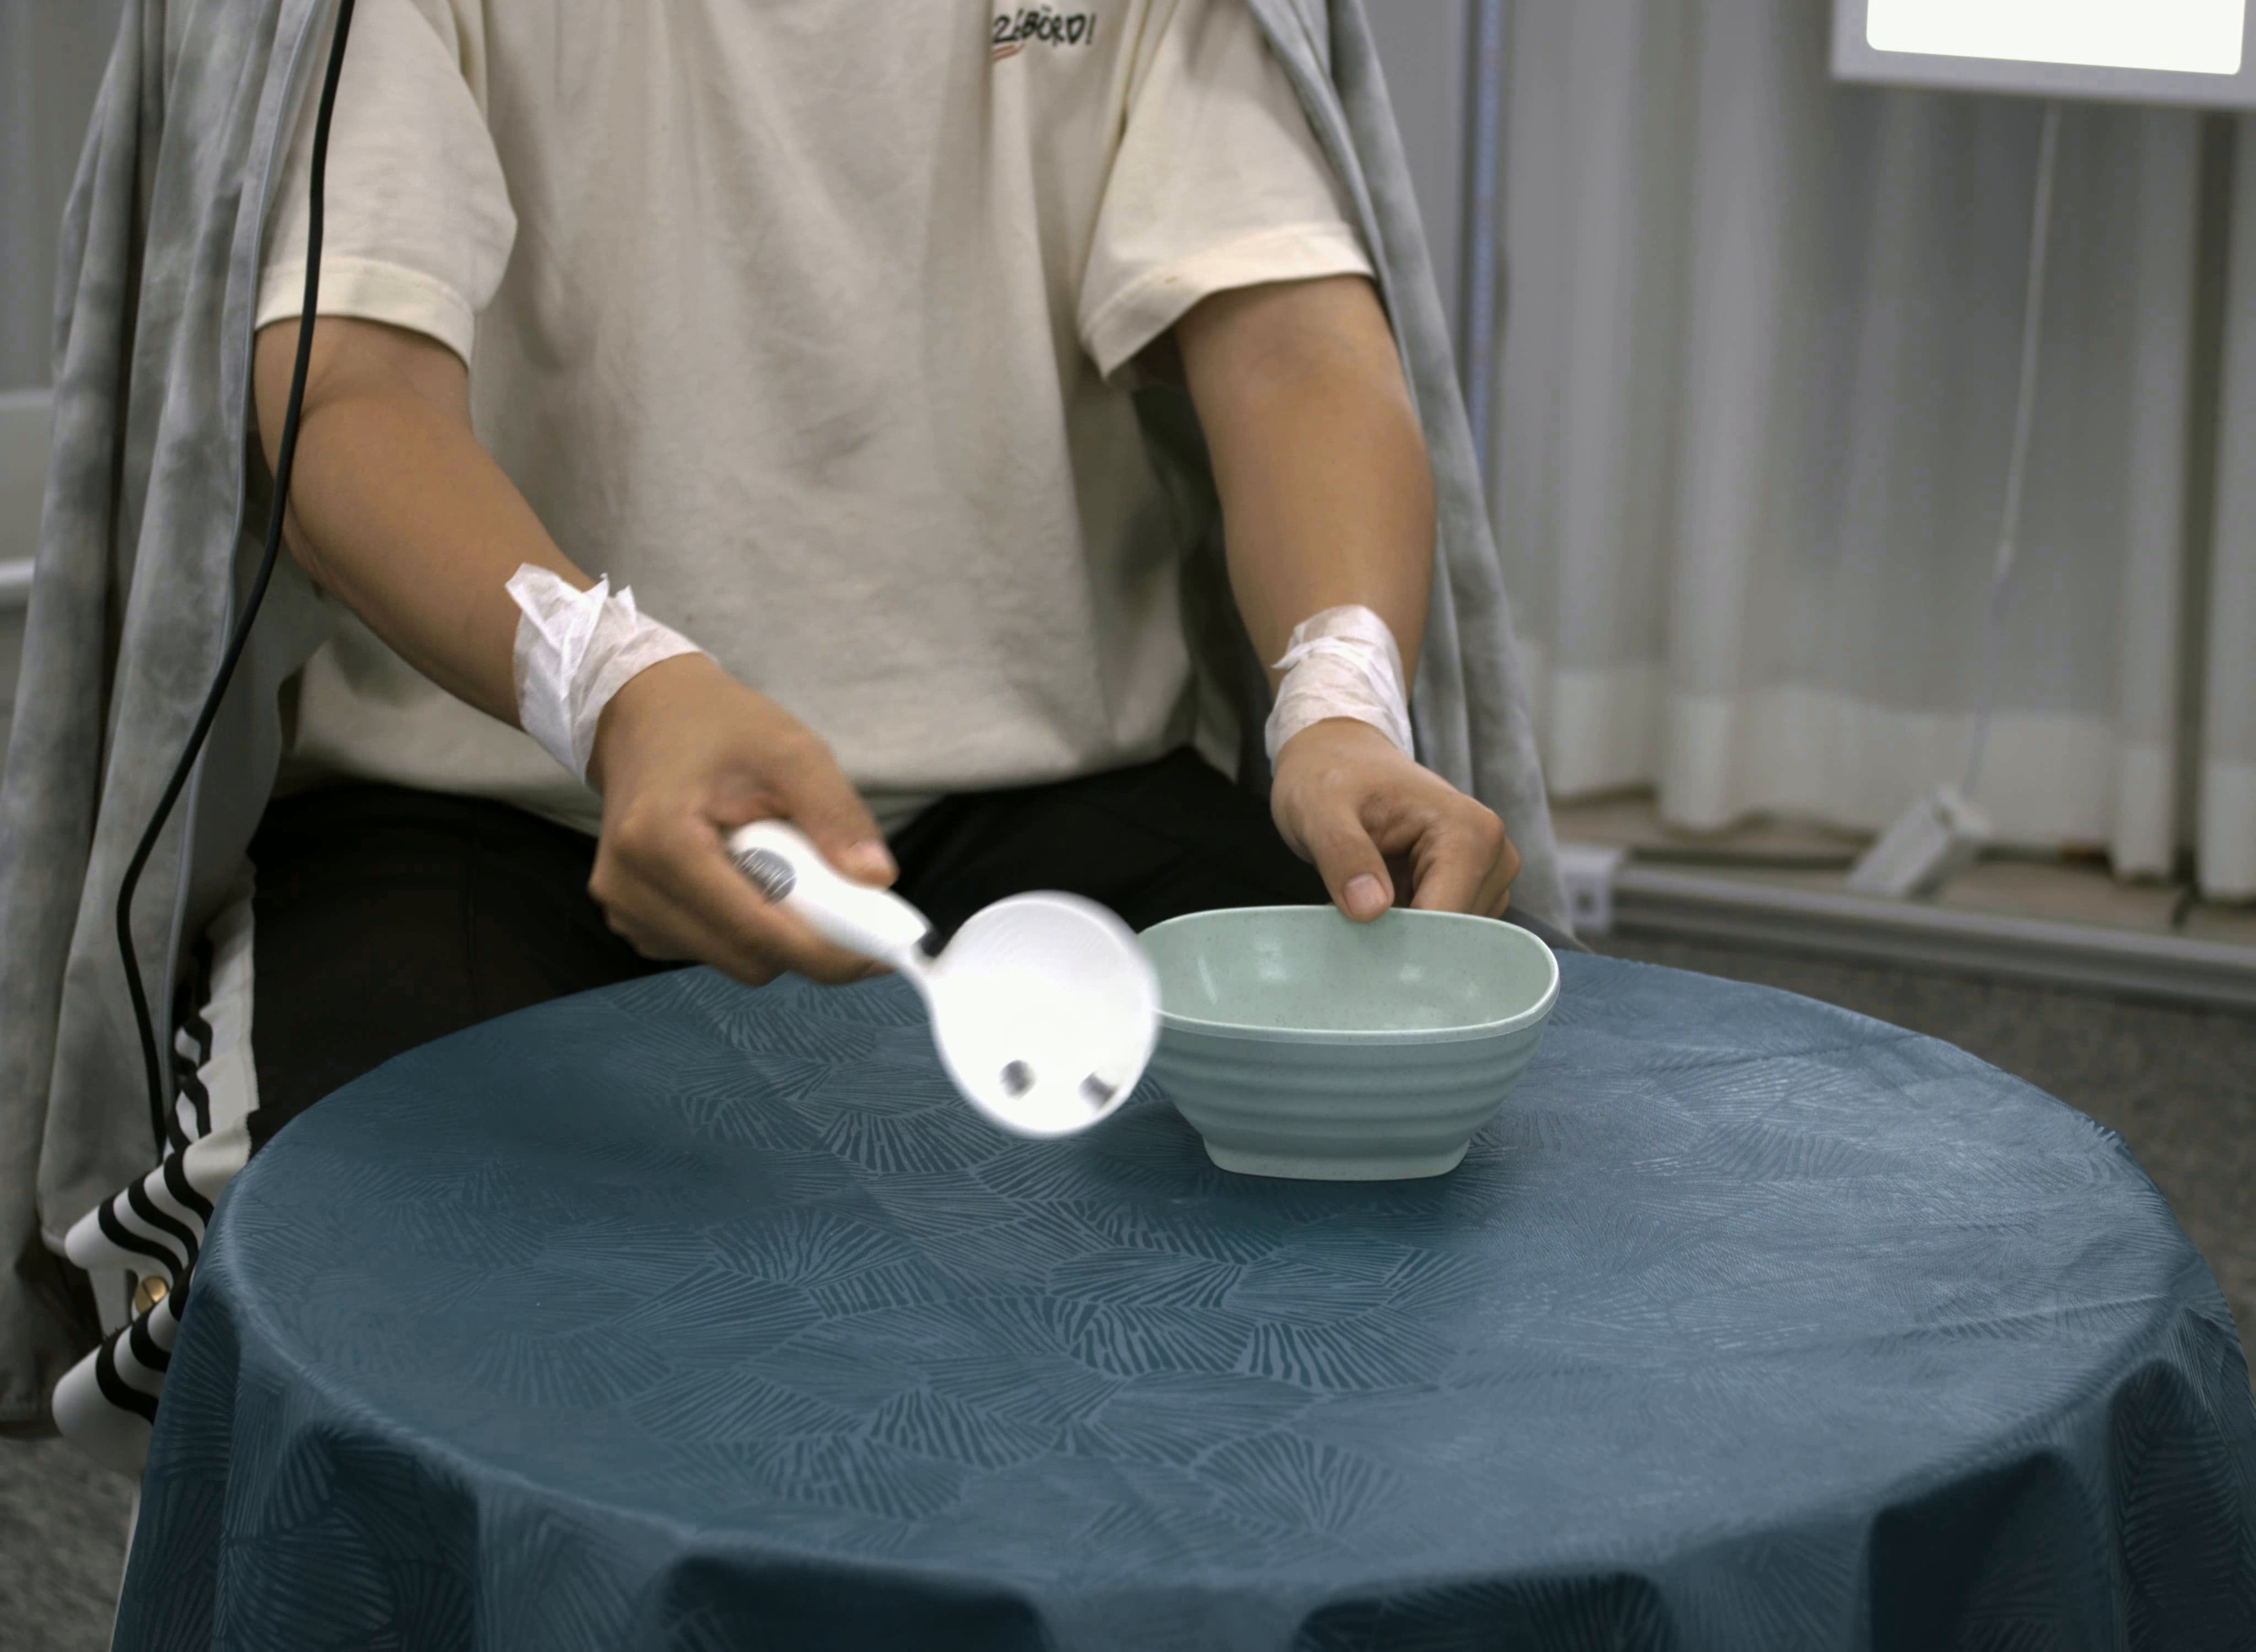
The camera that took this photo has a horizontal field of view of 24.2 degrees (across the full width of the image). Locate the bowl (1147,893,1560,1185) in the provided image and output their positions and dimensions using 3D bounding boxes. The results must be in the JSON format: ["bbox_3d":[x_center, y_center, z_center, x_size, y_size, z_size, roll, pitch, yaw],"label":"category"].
[{"bbox_3d":[0.067,0.071,1.669,0.151,0.059,0.150,0,19,0],"label":"bowl"}]

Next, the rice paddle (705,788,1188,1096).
[{"bbox_3d":[-0.054,0.028,1.584,0.202,0.069,0.030,22,3,44],"label":"rice paddle"}]
